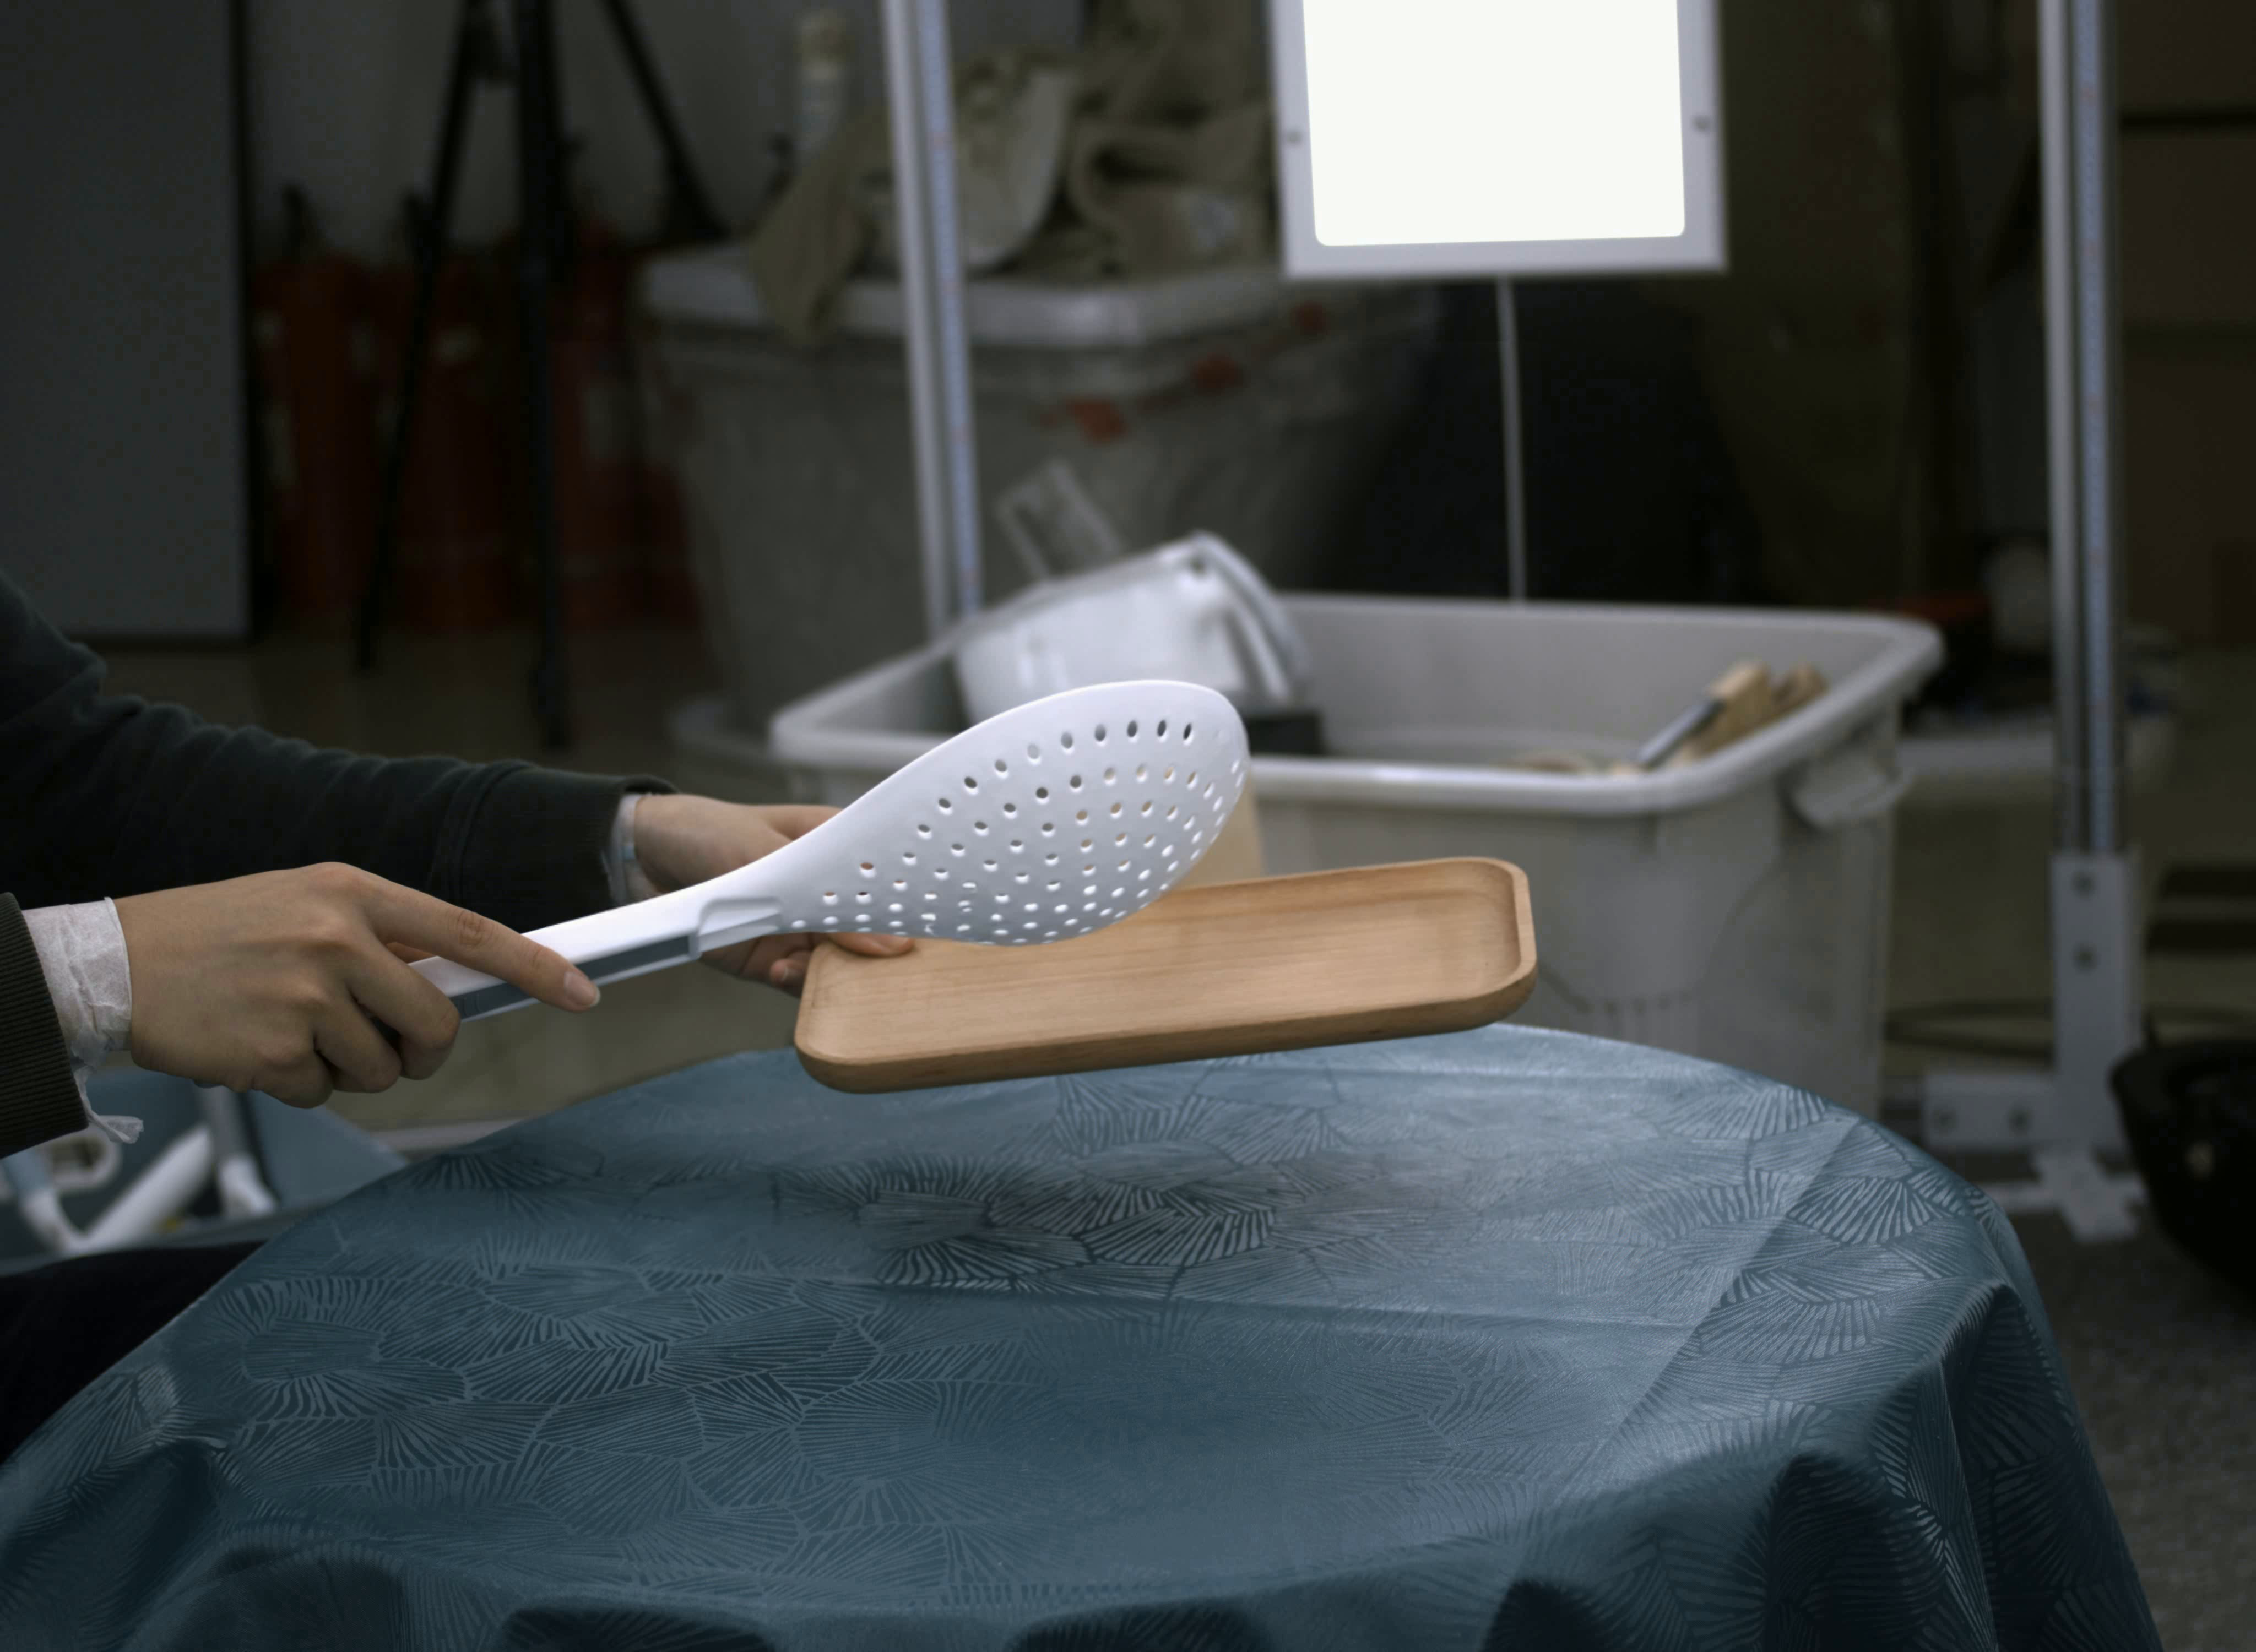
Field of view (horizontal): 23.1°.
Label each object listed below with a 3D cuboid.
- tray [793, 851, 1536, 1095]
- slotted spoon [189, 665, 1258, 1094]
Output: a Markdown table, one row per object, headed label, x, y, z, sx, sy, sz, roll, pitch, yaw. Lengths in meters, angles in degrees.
| label | x | y | z | sx | sy | sz | roll | pitch | yaw |
| --- | --- | --- | --- | --- | --- | --- | --- | --- | --- |
| tray | 0.013 | 0.050 | 1.864 | 0.251 | 0.023 | 0.130 | -7 | 19 | 7 |
| slotted spoon | -0.122 | 0.025 | 1.725 | 0.347 | 0.046 | 0.136 | -12 | -30 | -5 |
